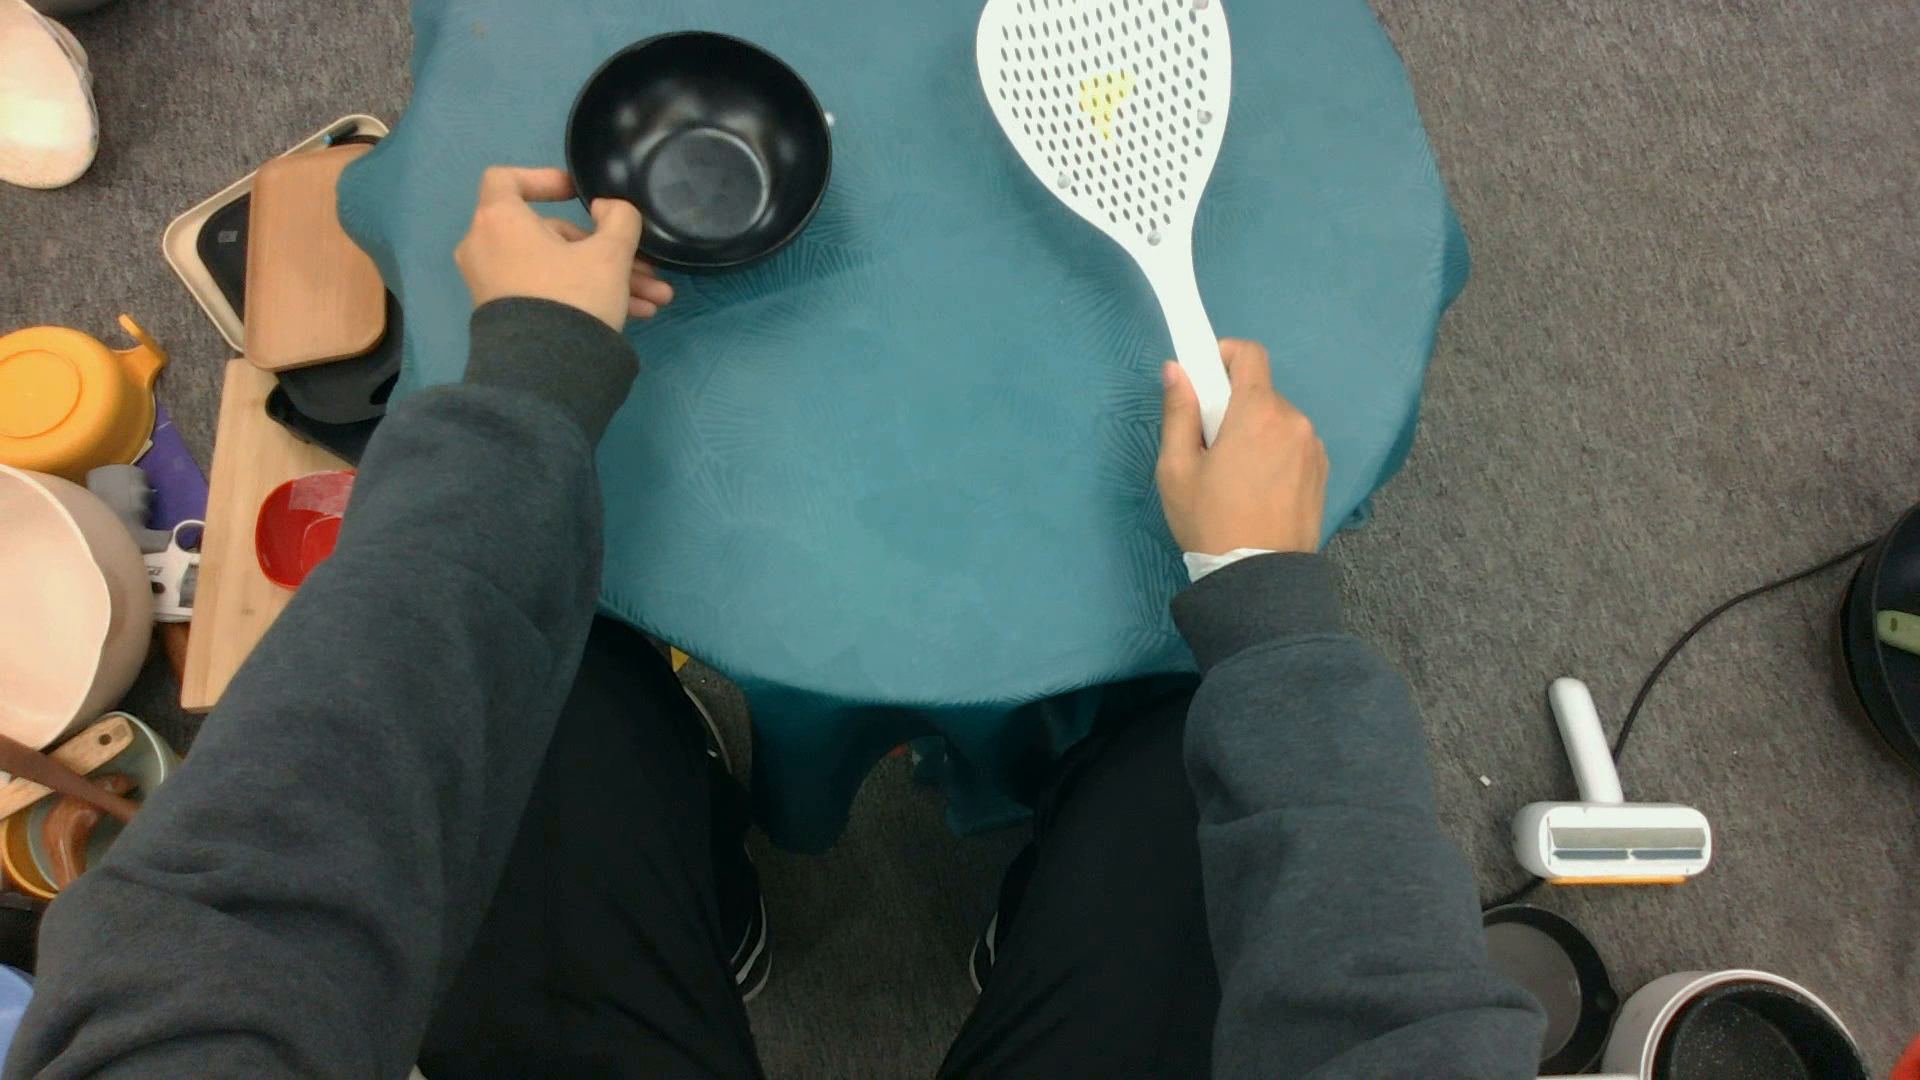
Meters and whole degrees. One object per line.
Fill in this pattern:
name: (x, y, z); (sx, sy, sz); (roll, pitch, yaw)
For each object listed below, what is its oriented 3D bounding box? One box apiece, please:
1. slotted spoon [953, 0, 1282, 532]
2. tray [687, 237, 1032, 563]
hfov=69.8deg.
slotted spoon: (0.101, -0.169, 0.736); (0.137, 0.050, 0.348); (-19, 81, 2)
tray: (-0.097, -0.139, 1.333); (0.300, 0.027, 0.192); (43, 76, 7)
